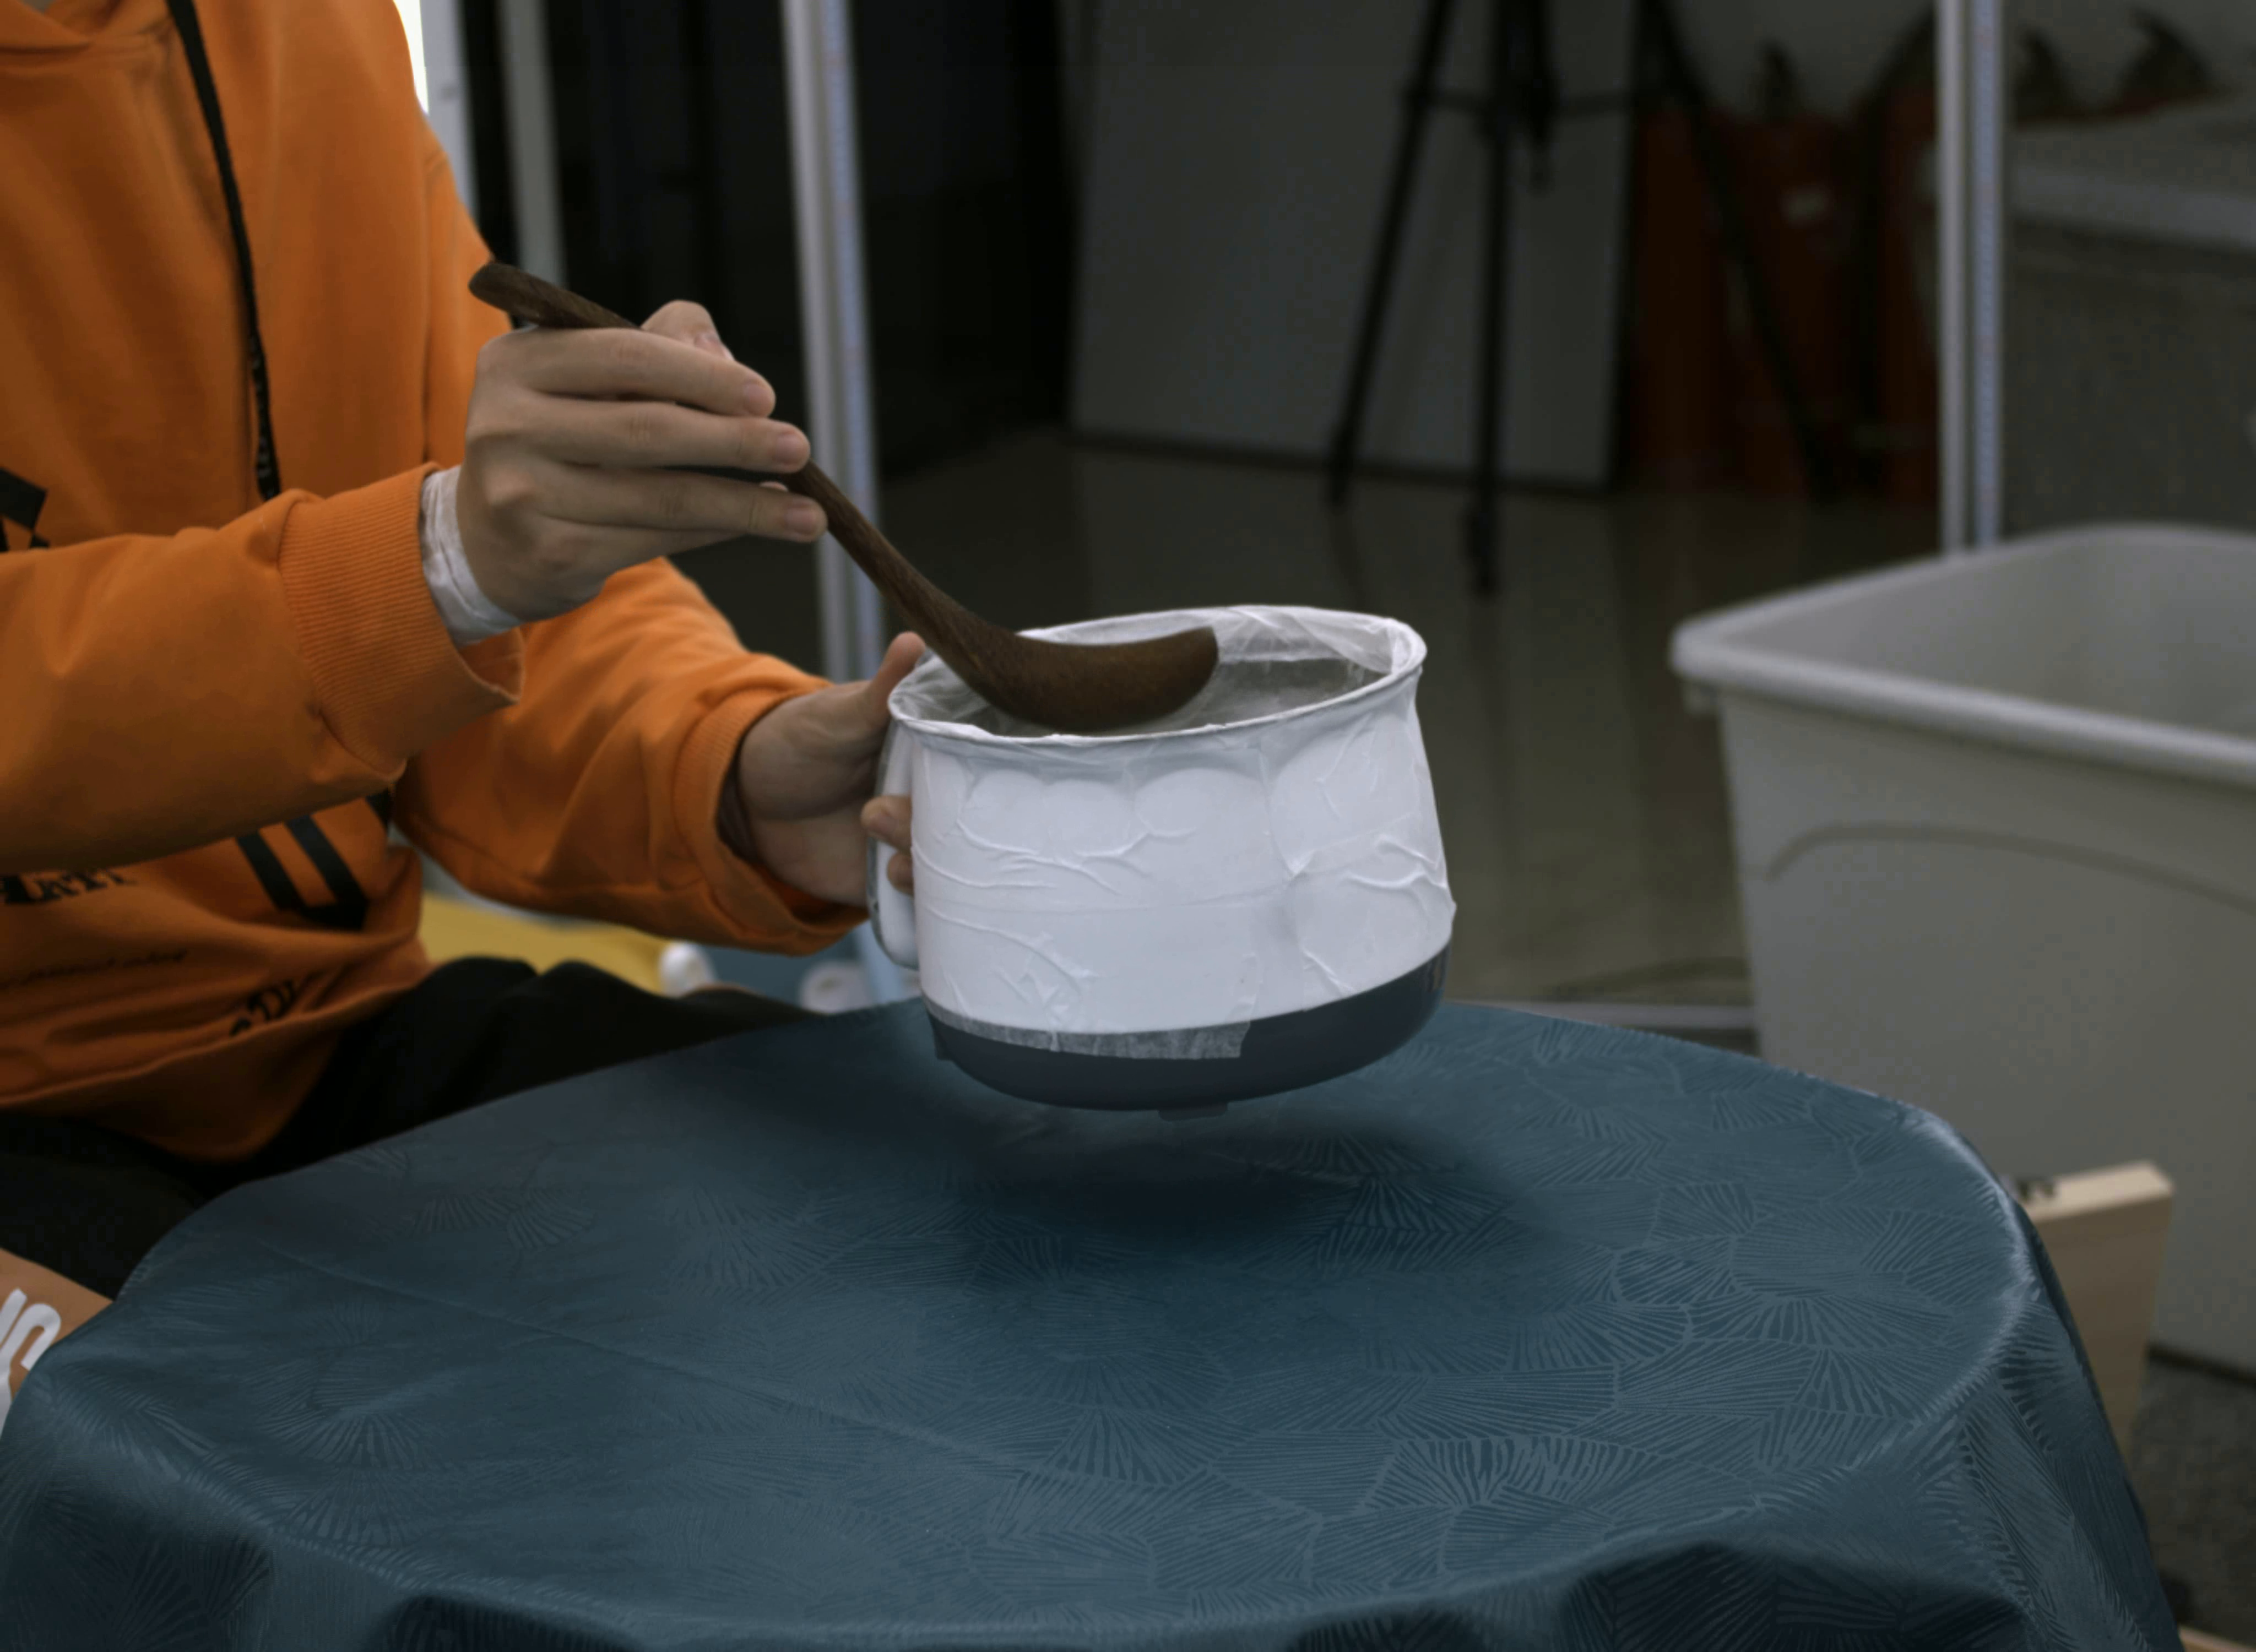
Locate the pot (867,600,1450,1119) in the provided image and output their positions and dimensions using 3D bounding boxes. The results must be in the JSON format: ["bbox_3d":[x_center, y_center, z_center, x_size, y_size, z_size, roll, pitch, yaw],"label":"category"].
[{"bbox_3d":[-0.004,0.007,1.778,0.175,0.138,0.236,-18,18,-42],"label":"pot"}]

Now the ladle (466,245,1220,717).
[{"bbox_3d":[-0.088,-0.120,1.764,0.071,0.272,0.076,-54,9,-24],"label":"ladle"}]
